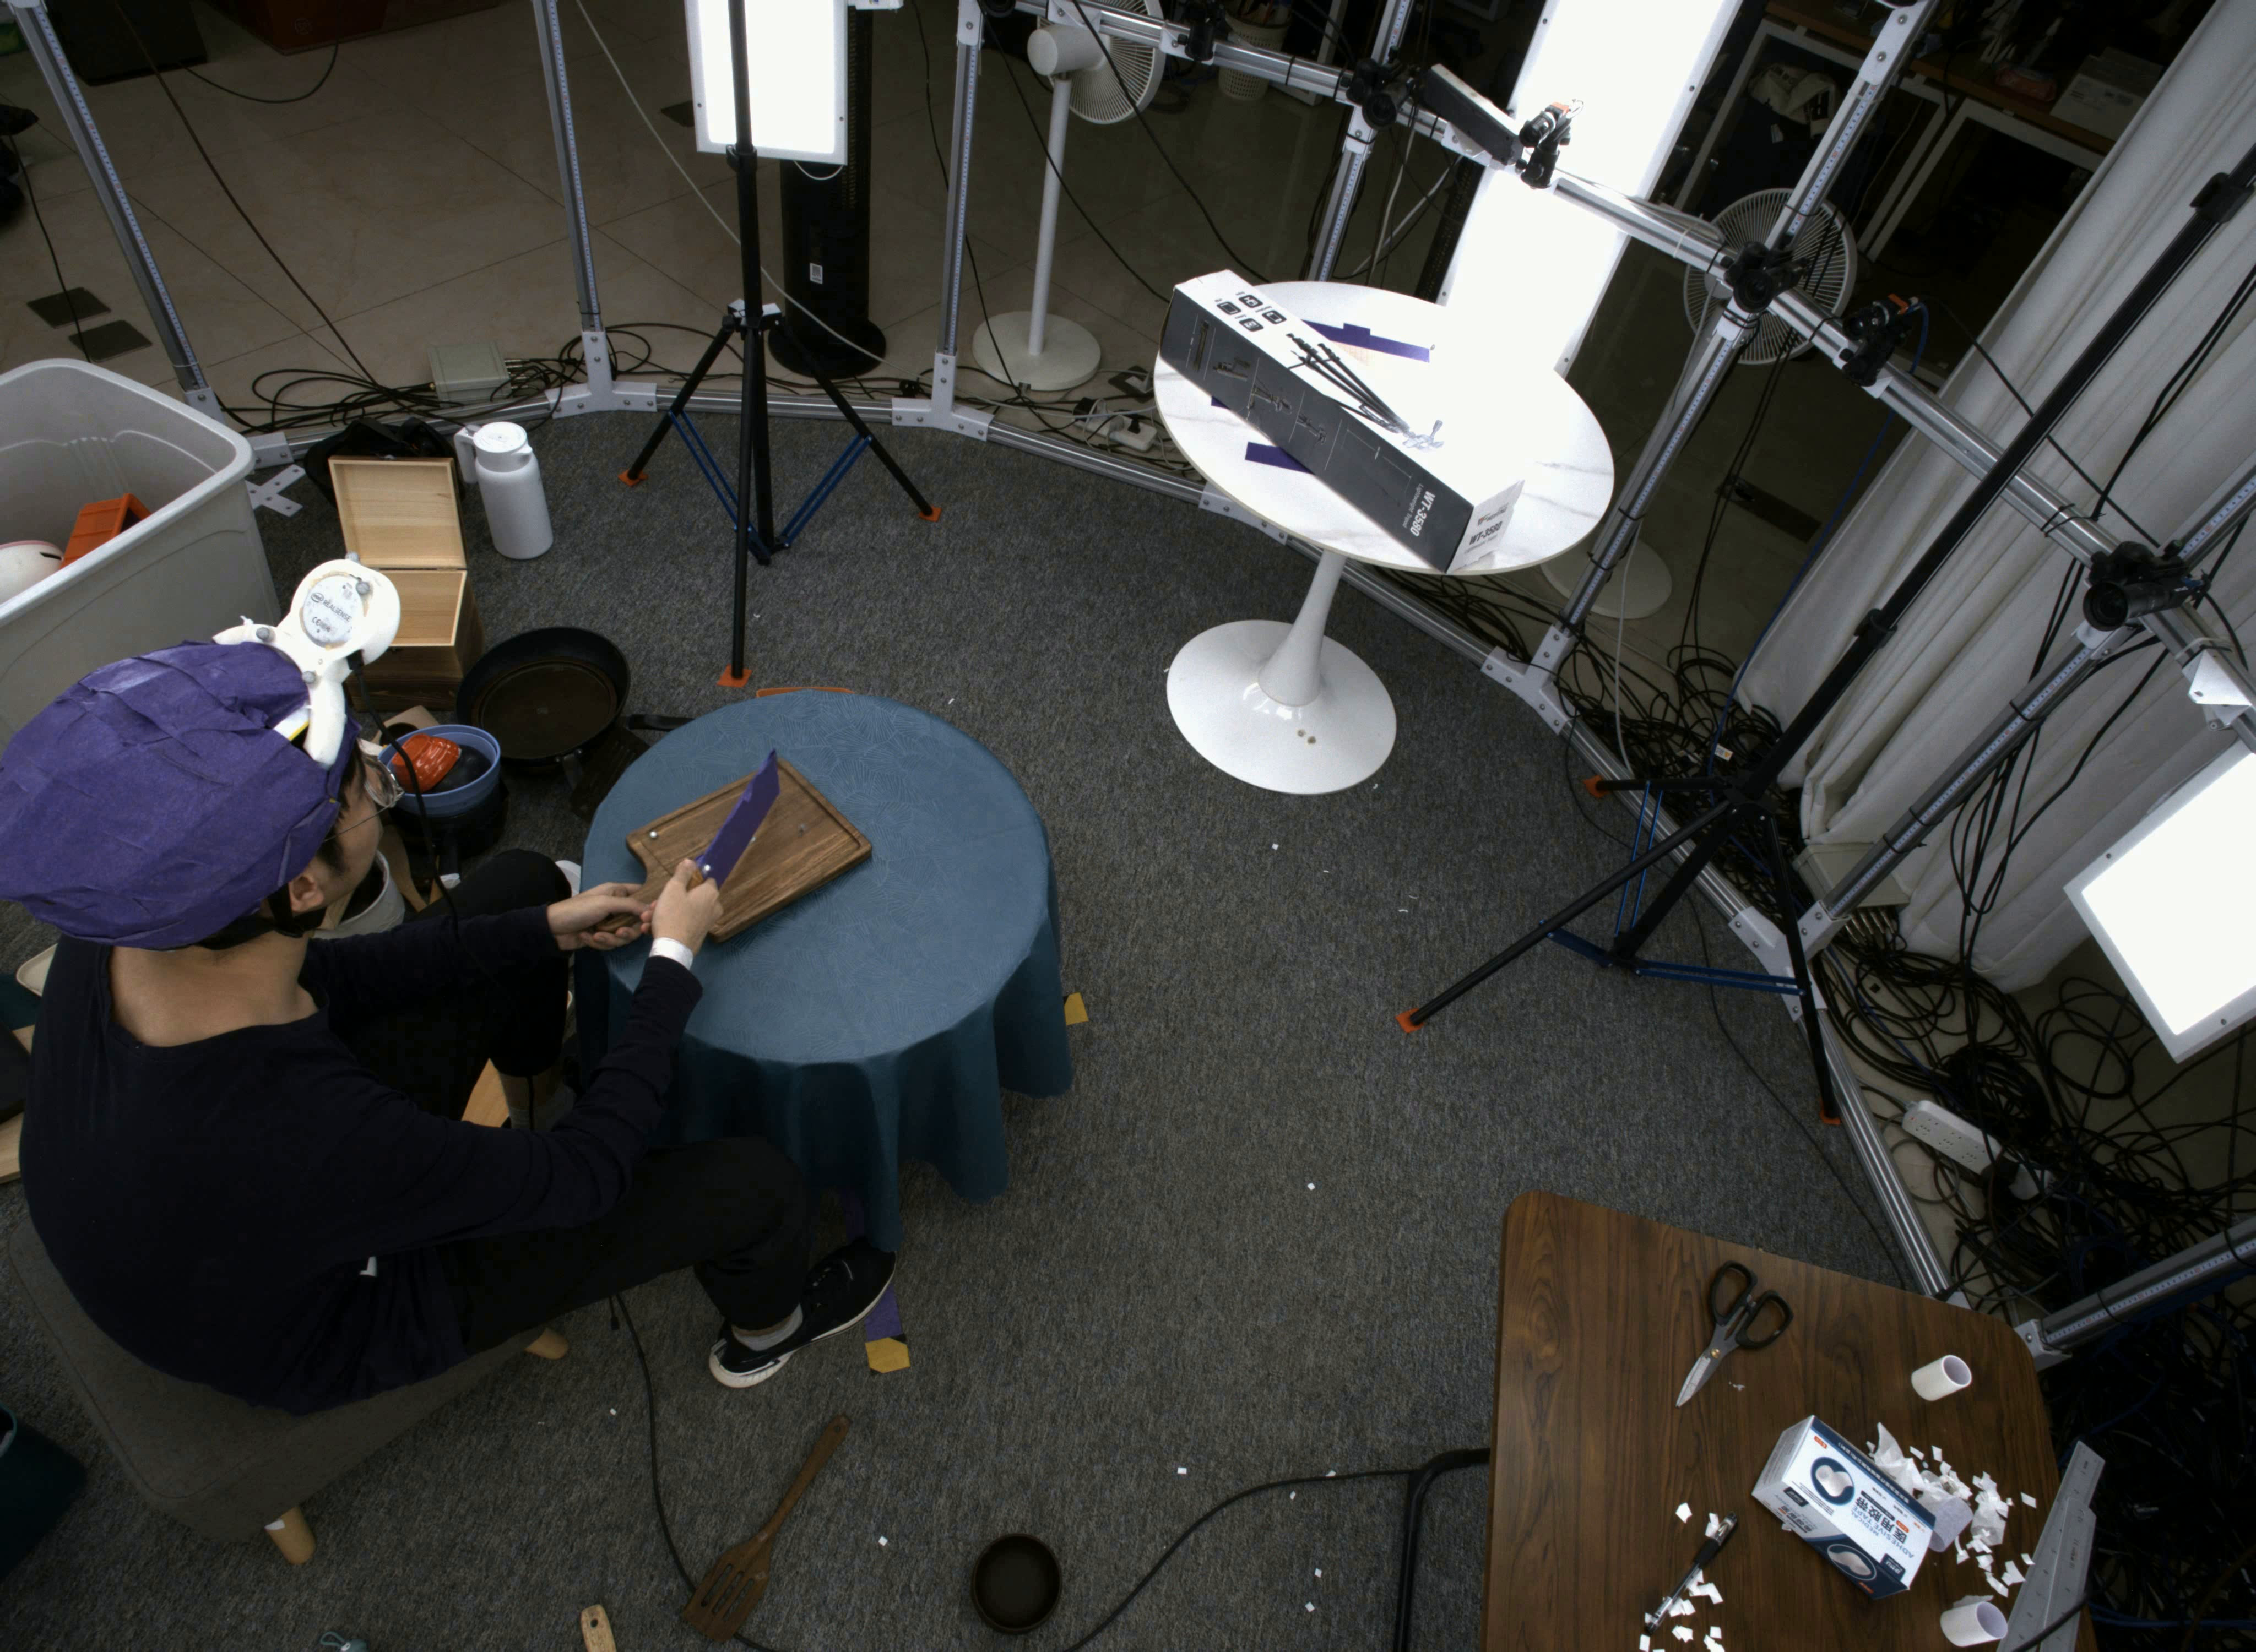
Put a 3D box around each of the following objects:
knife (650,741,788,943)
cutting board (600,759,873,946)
[{"bbox_3d":[-0.488,0.033,1.578,0.032,0.106,0.312,17,49,7],"label":"knife"},{"bbox_3d":[-0.519,0.047,1.643,0.197,0.023,0.353,43,50,17],"label":"cutting board"}]
